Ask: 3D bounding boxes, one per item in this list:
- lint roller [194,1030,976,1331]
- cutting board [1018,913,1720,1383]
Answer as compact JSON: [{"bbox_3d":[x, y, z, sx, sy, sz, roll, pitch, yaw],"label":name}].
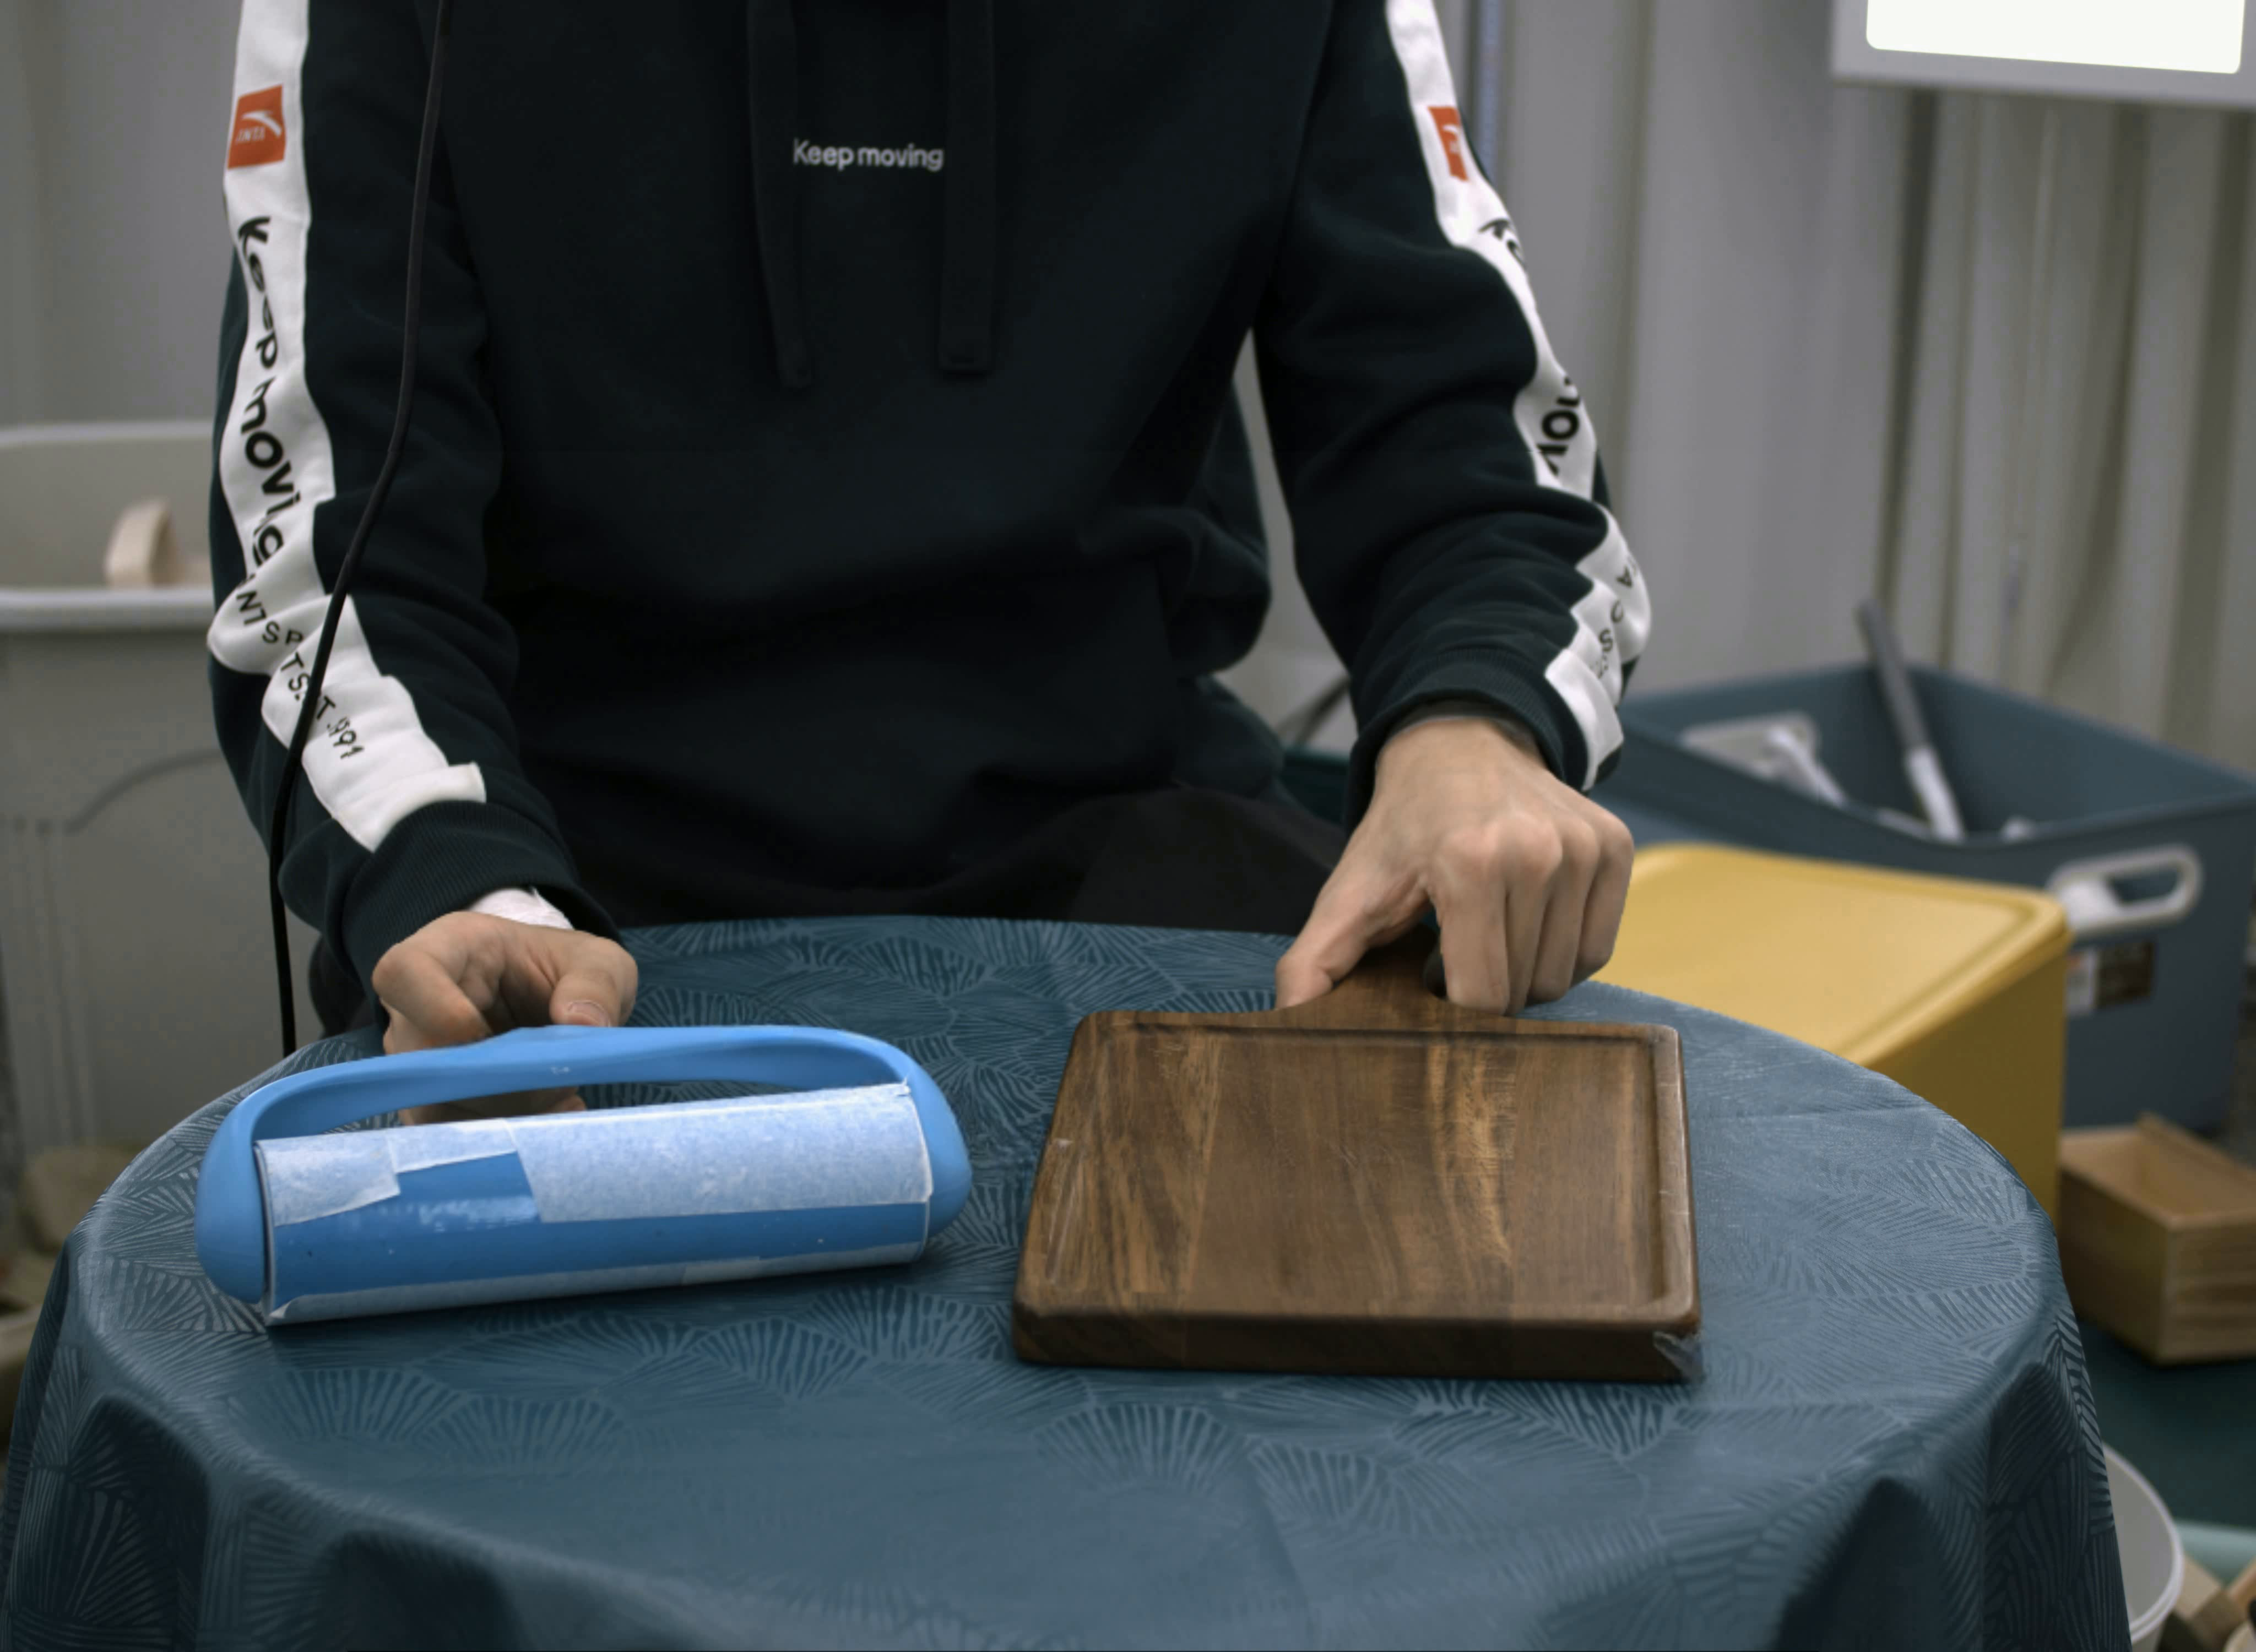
[{"bbox_3d":[-0.174,0.093,1.577,0.229,0.068,0.178,-6,18,-19],"label":"lint roller"},{"bbox_3d":[0.075,0.092,1.632,0.200,0.023,0.350,2,18,3],"label":"cutting board"}]
